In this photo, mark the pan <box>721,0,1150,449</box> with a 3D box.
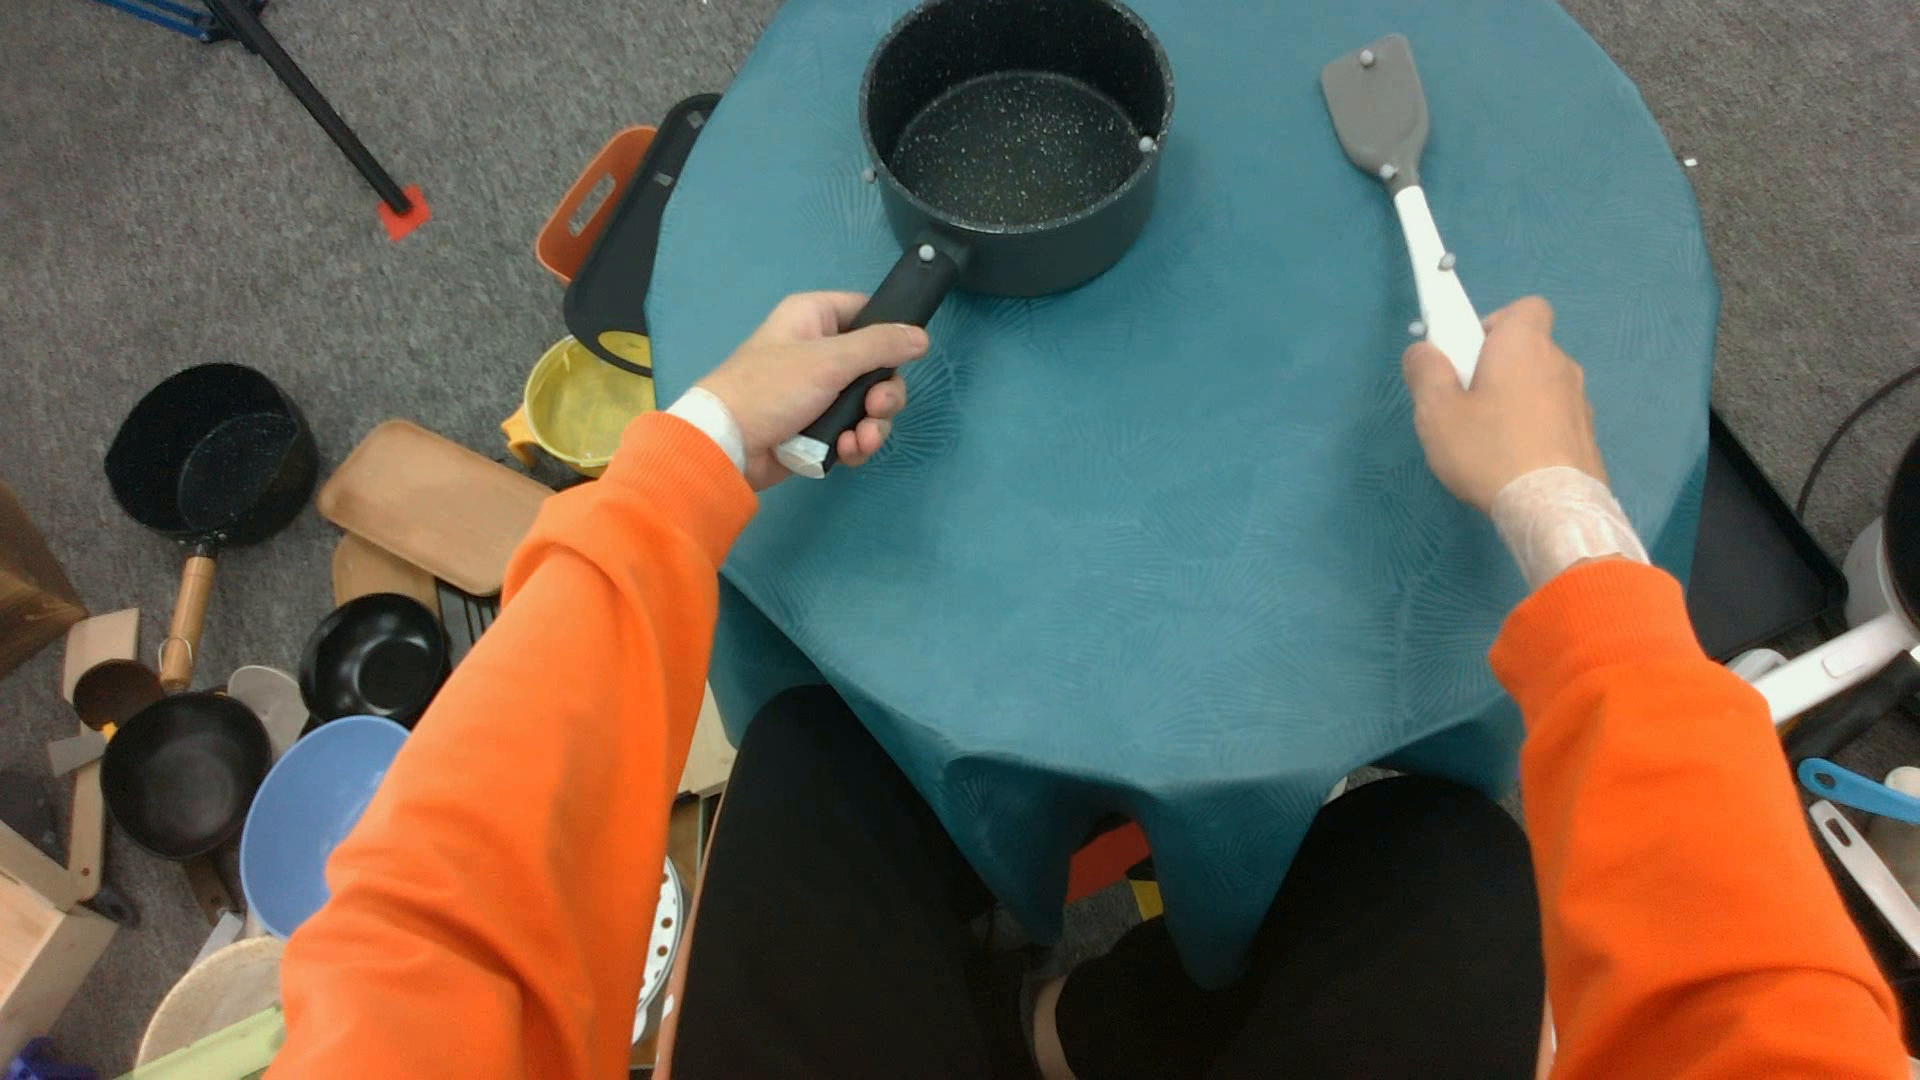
[{"bbox_3d":[-0.020,-0.171,0.751,0.172,0.086,0.330,27,70,13],"label":"pan"}]

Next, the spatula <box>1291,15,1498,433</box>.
[{"bbox_3d":[0.235,-0.180,0.747,0.058,0.032,0.289,-23,52,25],"label":"spatula"}]
